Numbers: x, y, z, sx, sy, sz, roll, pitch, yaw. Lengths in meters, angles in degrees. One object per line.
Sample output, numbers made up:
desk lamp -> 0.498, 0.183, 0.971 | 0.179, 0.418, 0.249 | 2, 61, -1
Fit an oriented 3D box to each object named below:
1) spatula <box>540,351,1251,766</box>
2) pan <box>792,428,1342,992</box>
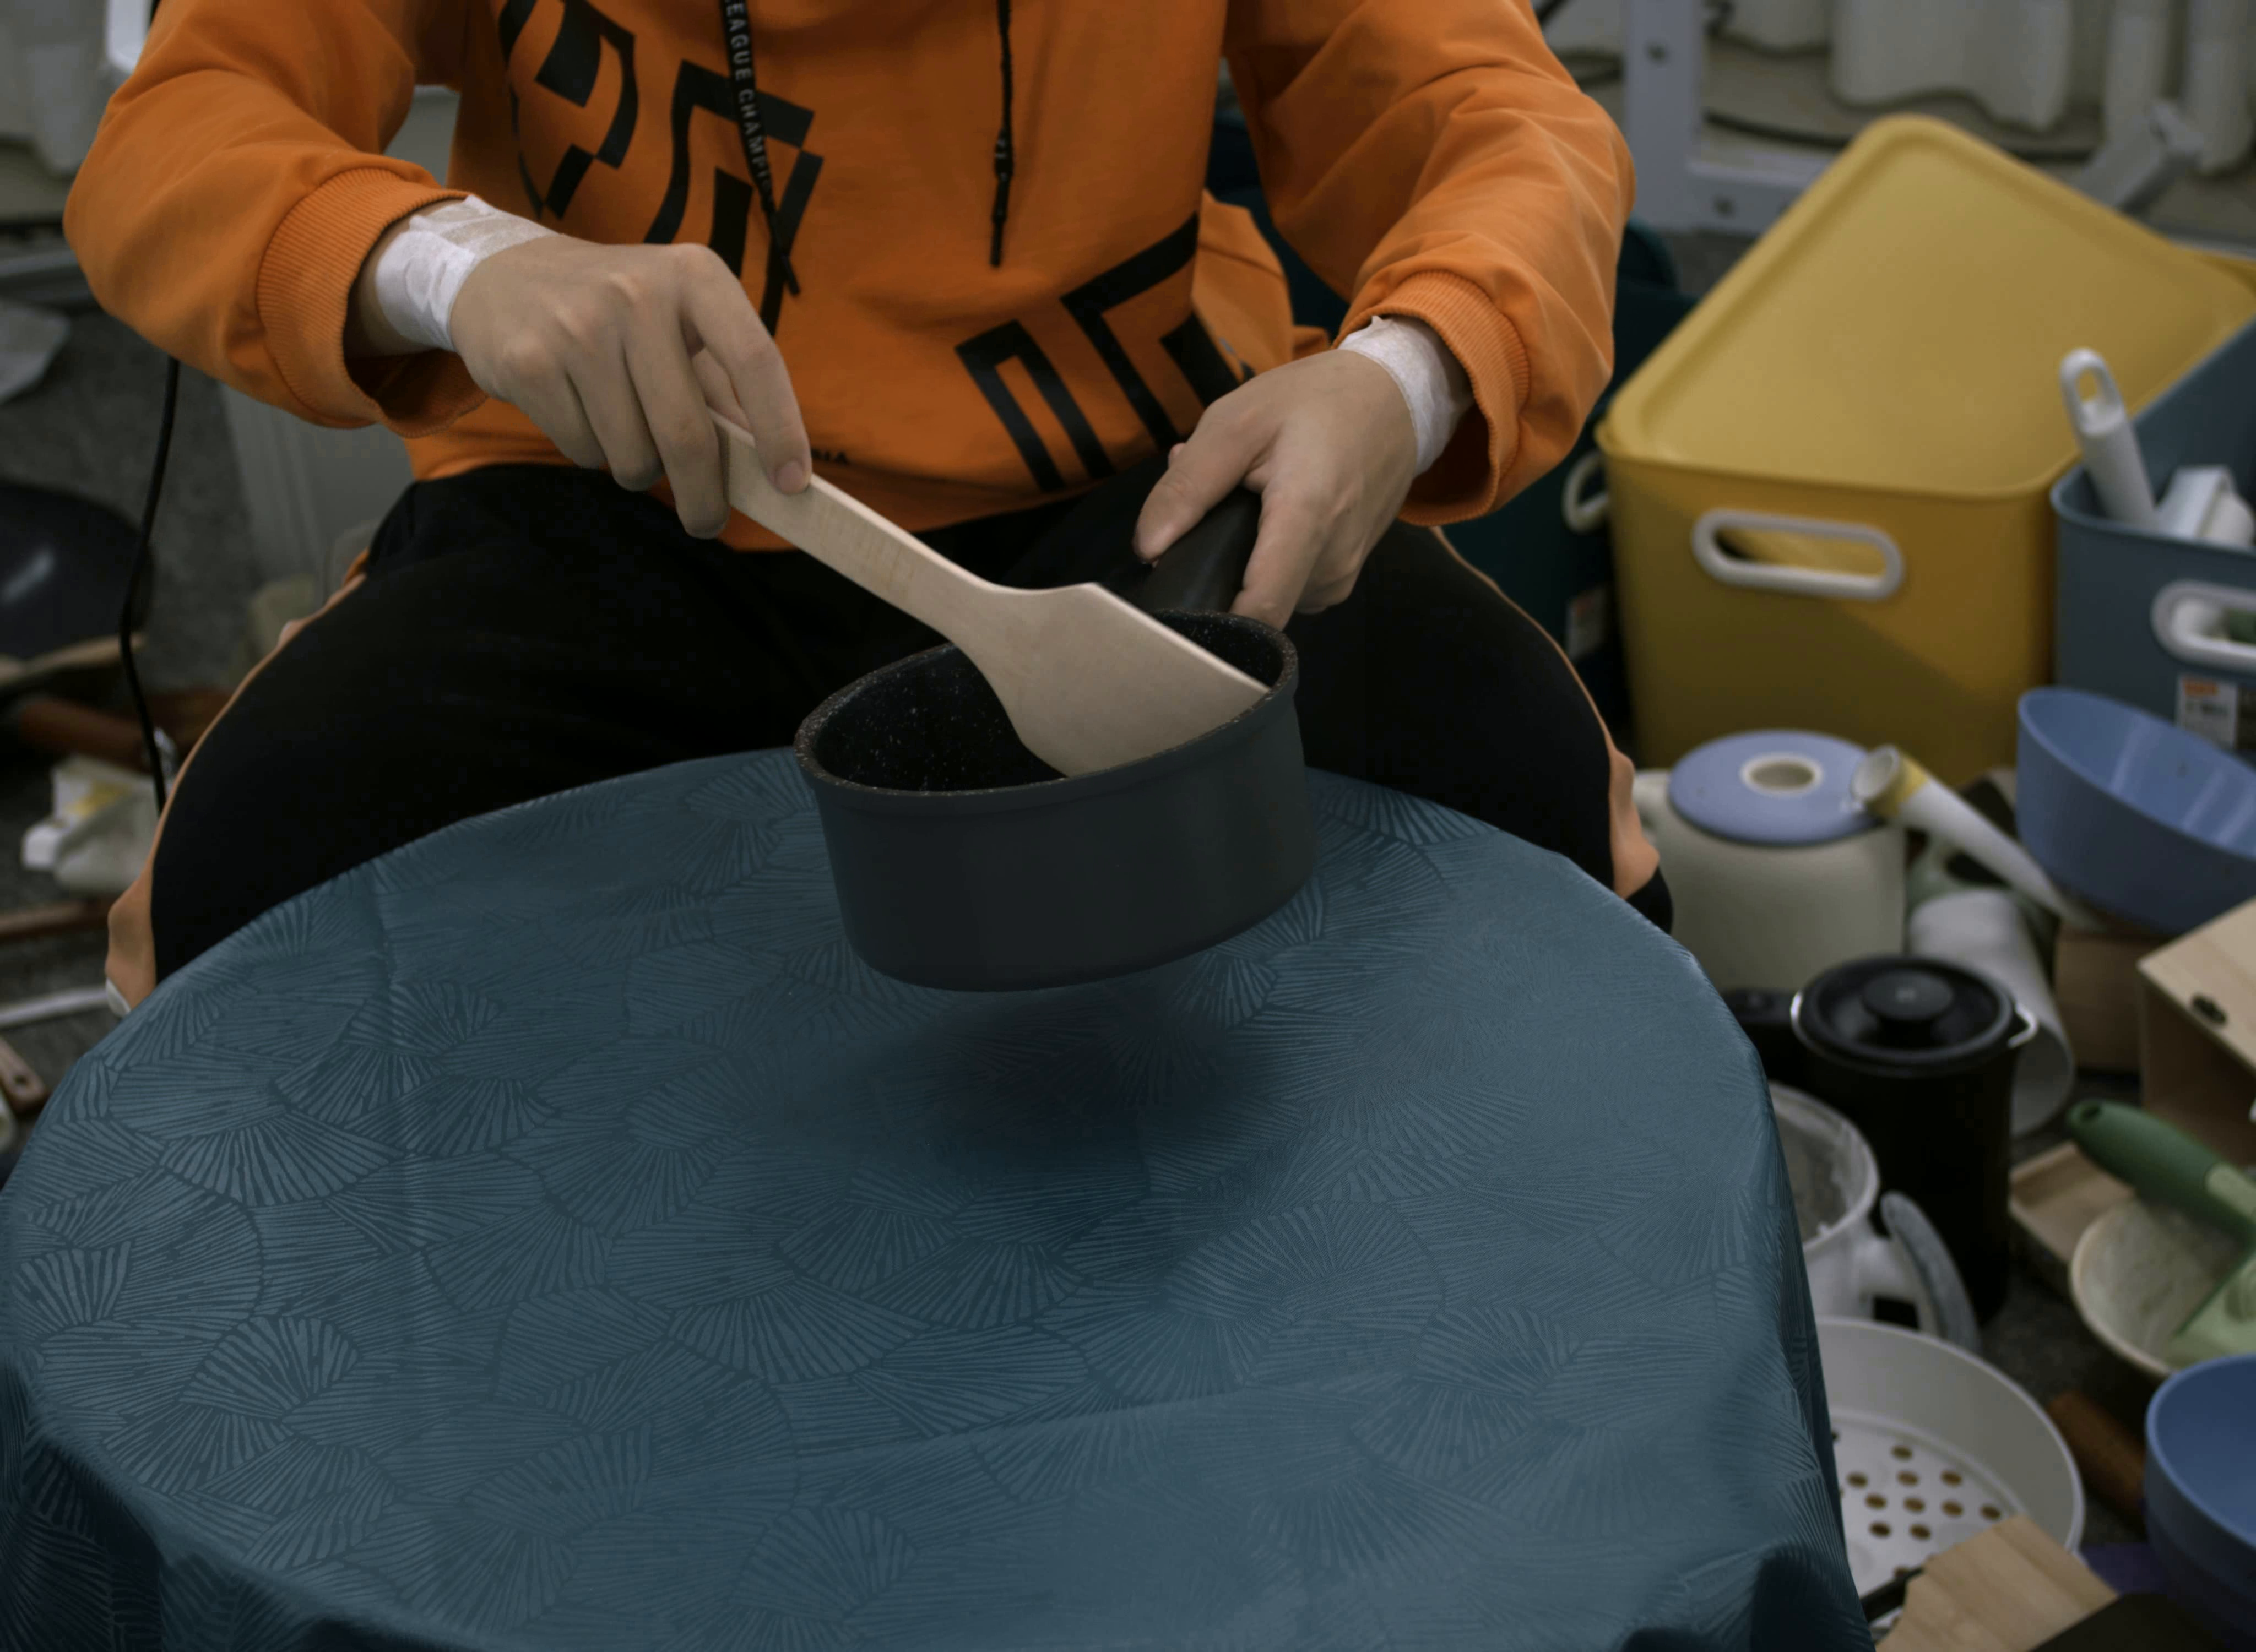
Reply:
spatula -> -0.085, -0.092, 1.923 | 0.293, 0.071, 0.011 | 29, 40, 20
pan -> 0.007, -0.043, 1.956 | 0.170, 0.086, 0.334 | -1, 23, 24
